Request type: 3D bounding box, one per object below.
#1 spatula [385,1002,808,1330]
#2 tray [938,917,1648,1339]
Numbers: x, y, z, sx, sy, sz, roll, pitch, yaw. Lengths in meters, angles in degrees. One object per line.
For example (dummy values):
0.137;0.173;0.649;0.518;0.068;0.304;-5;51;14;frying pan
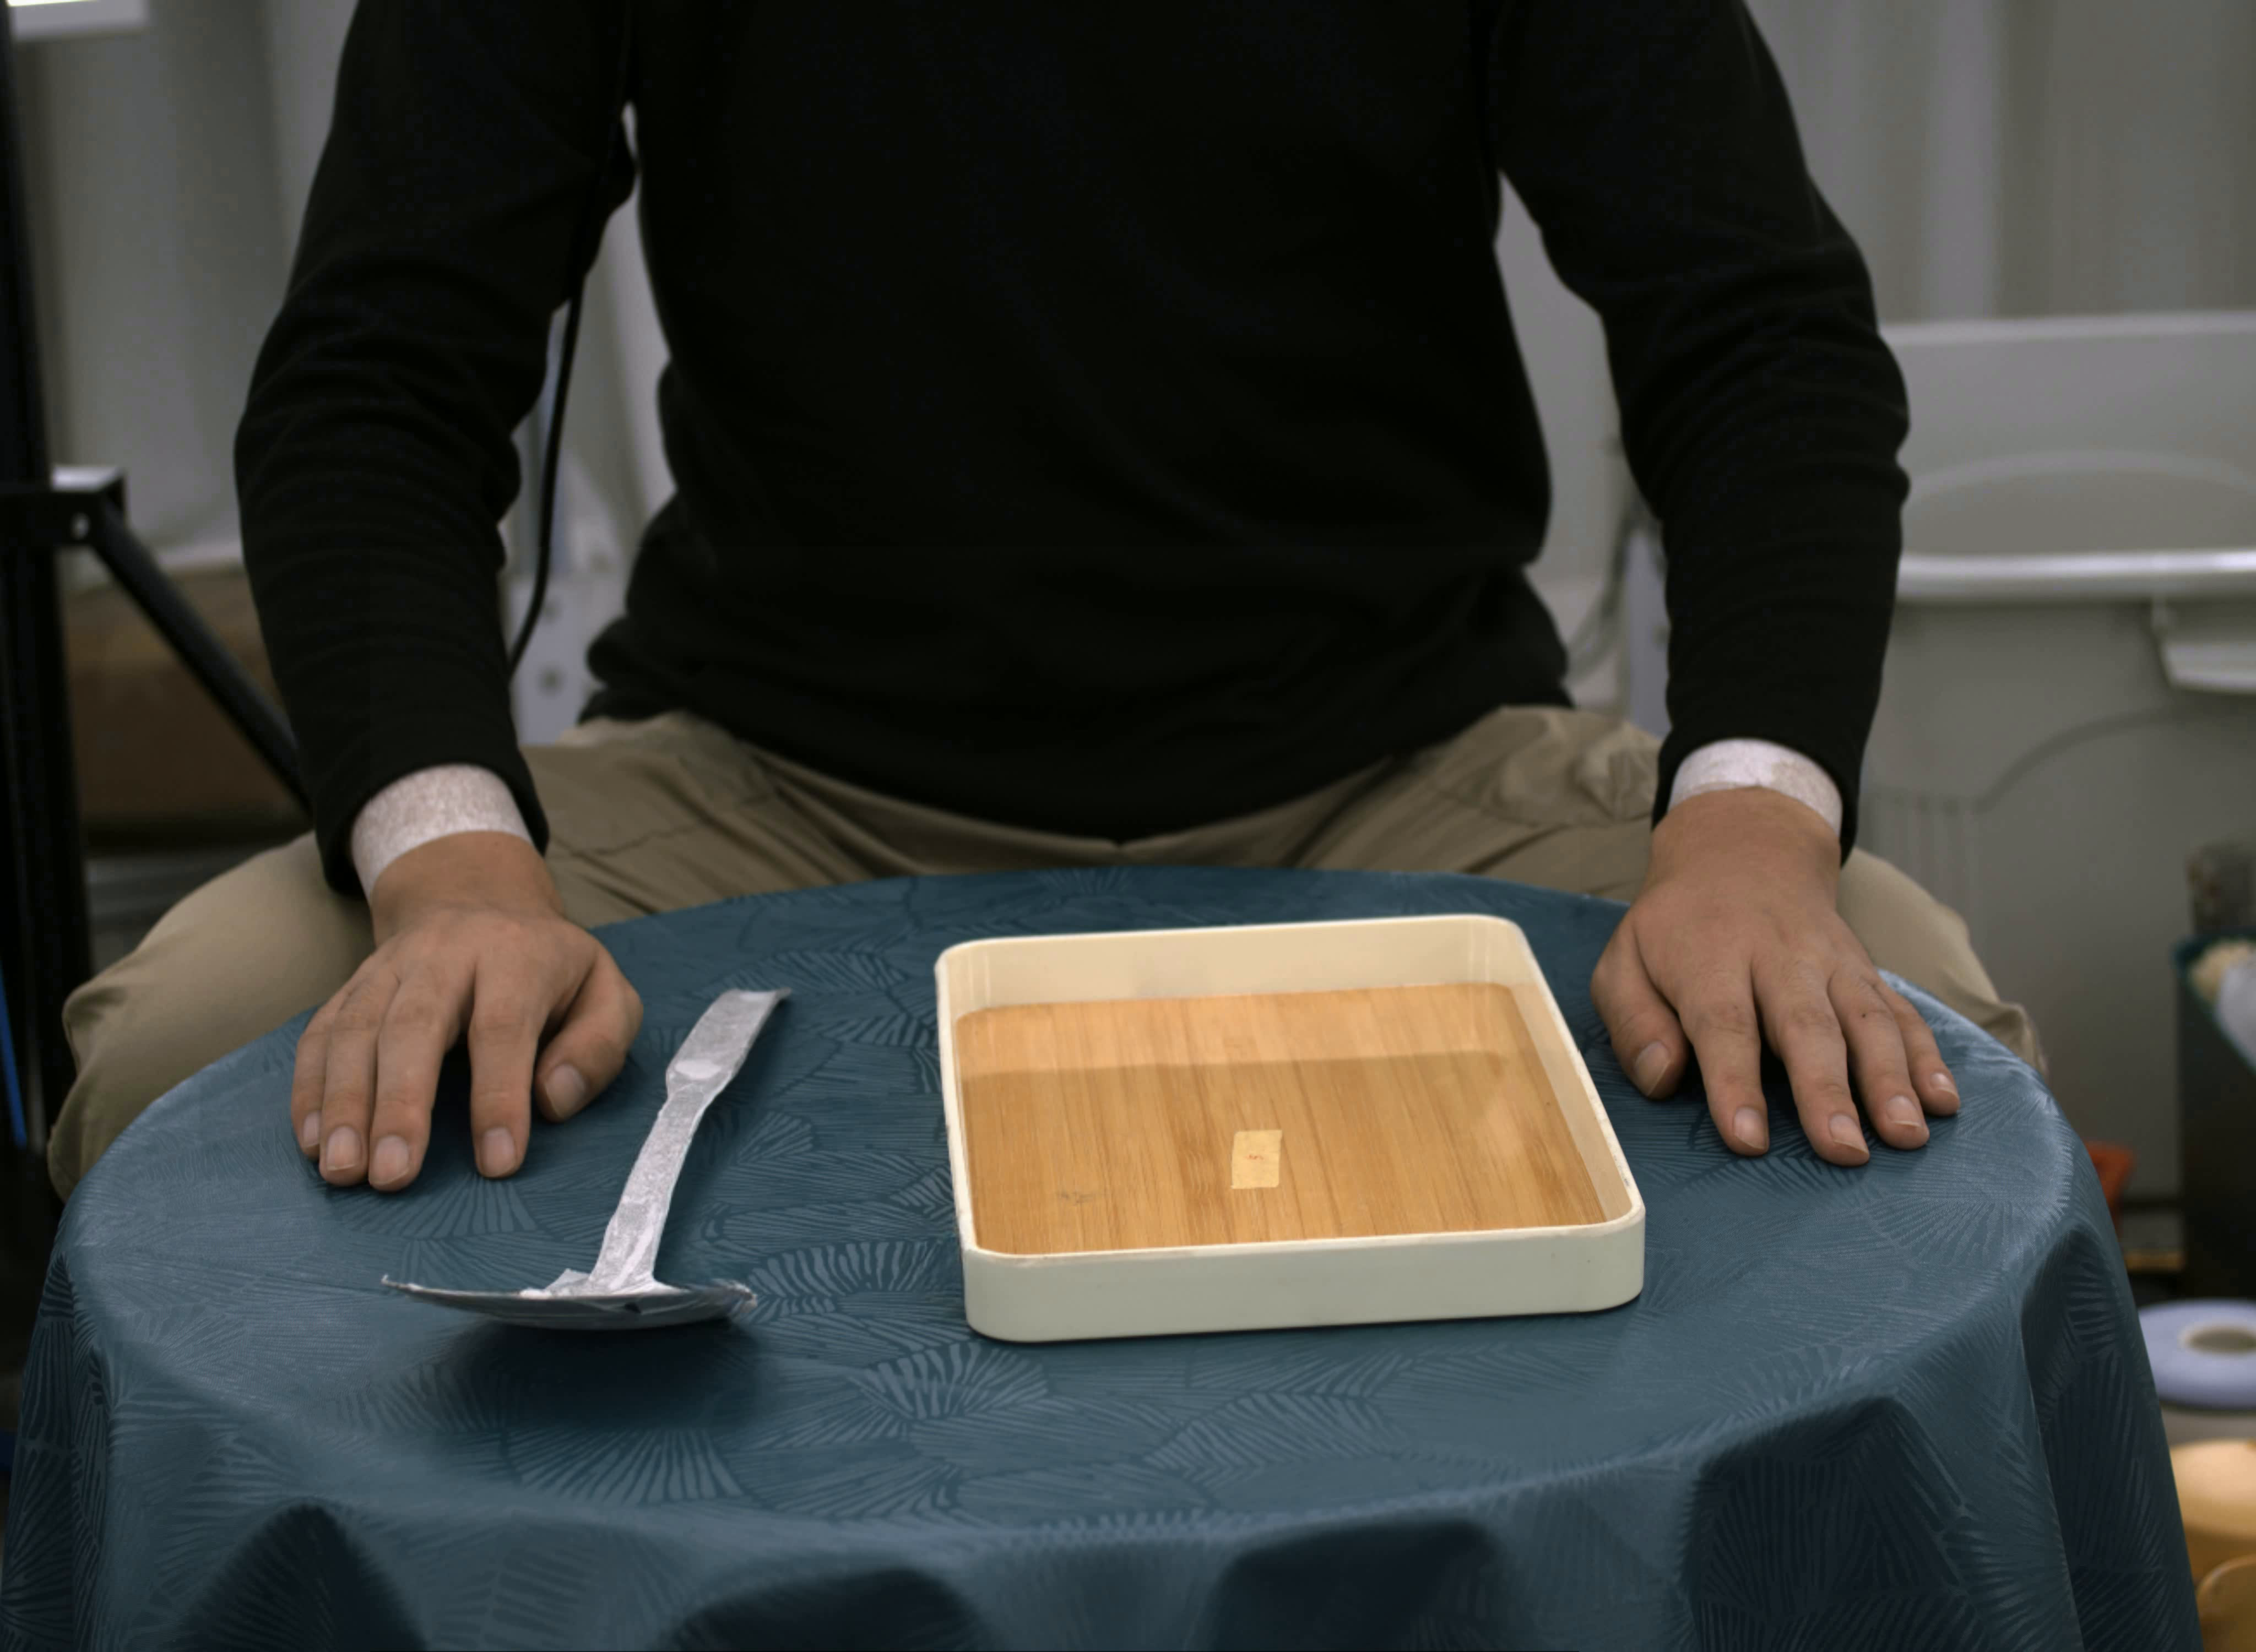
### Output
-0.134;0.091;1.569;0.099;0.045;0.364;-2;16;6;spatula
0.042;0.086;1.580;0.190;0.027;0.302;-3;16;-2;tray
